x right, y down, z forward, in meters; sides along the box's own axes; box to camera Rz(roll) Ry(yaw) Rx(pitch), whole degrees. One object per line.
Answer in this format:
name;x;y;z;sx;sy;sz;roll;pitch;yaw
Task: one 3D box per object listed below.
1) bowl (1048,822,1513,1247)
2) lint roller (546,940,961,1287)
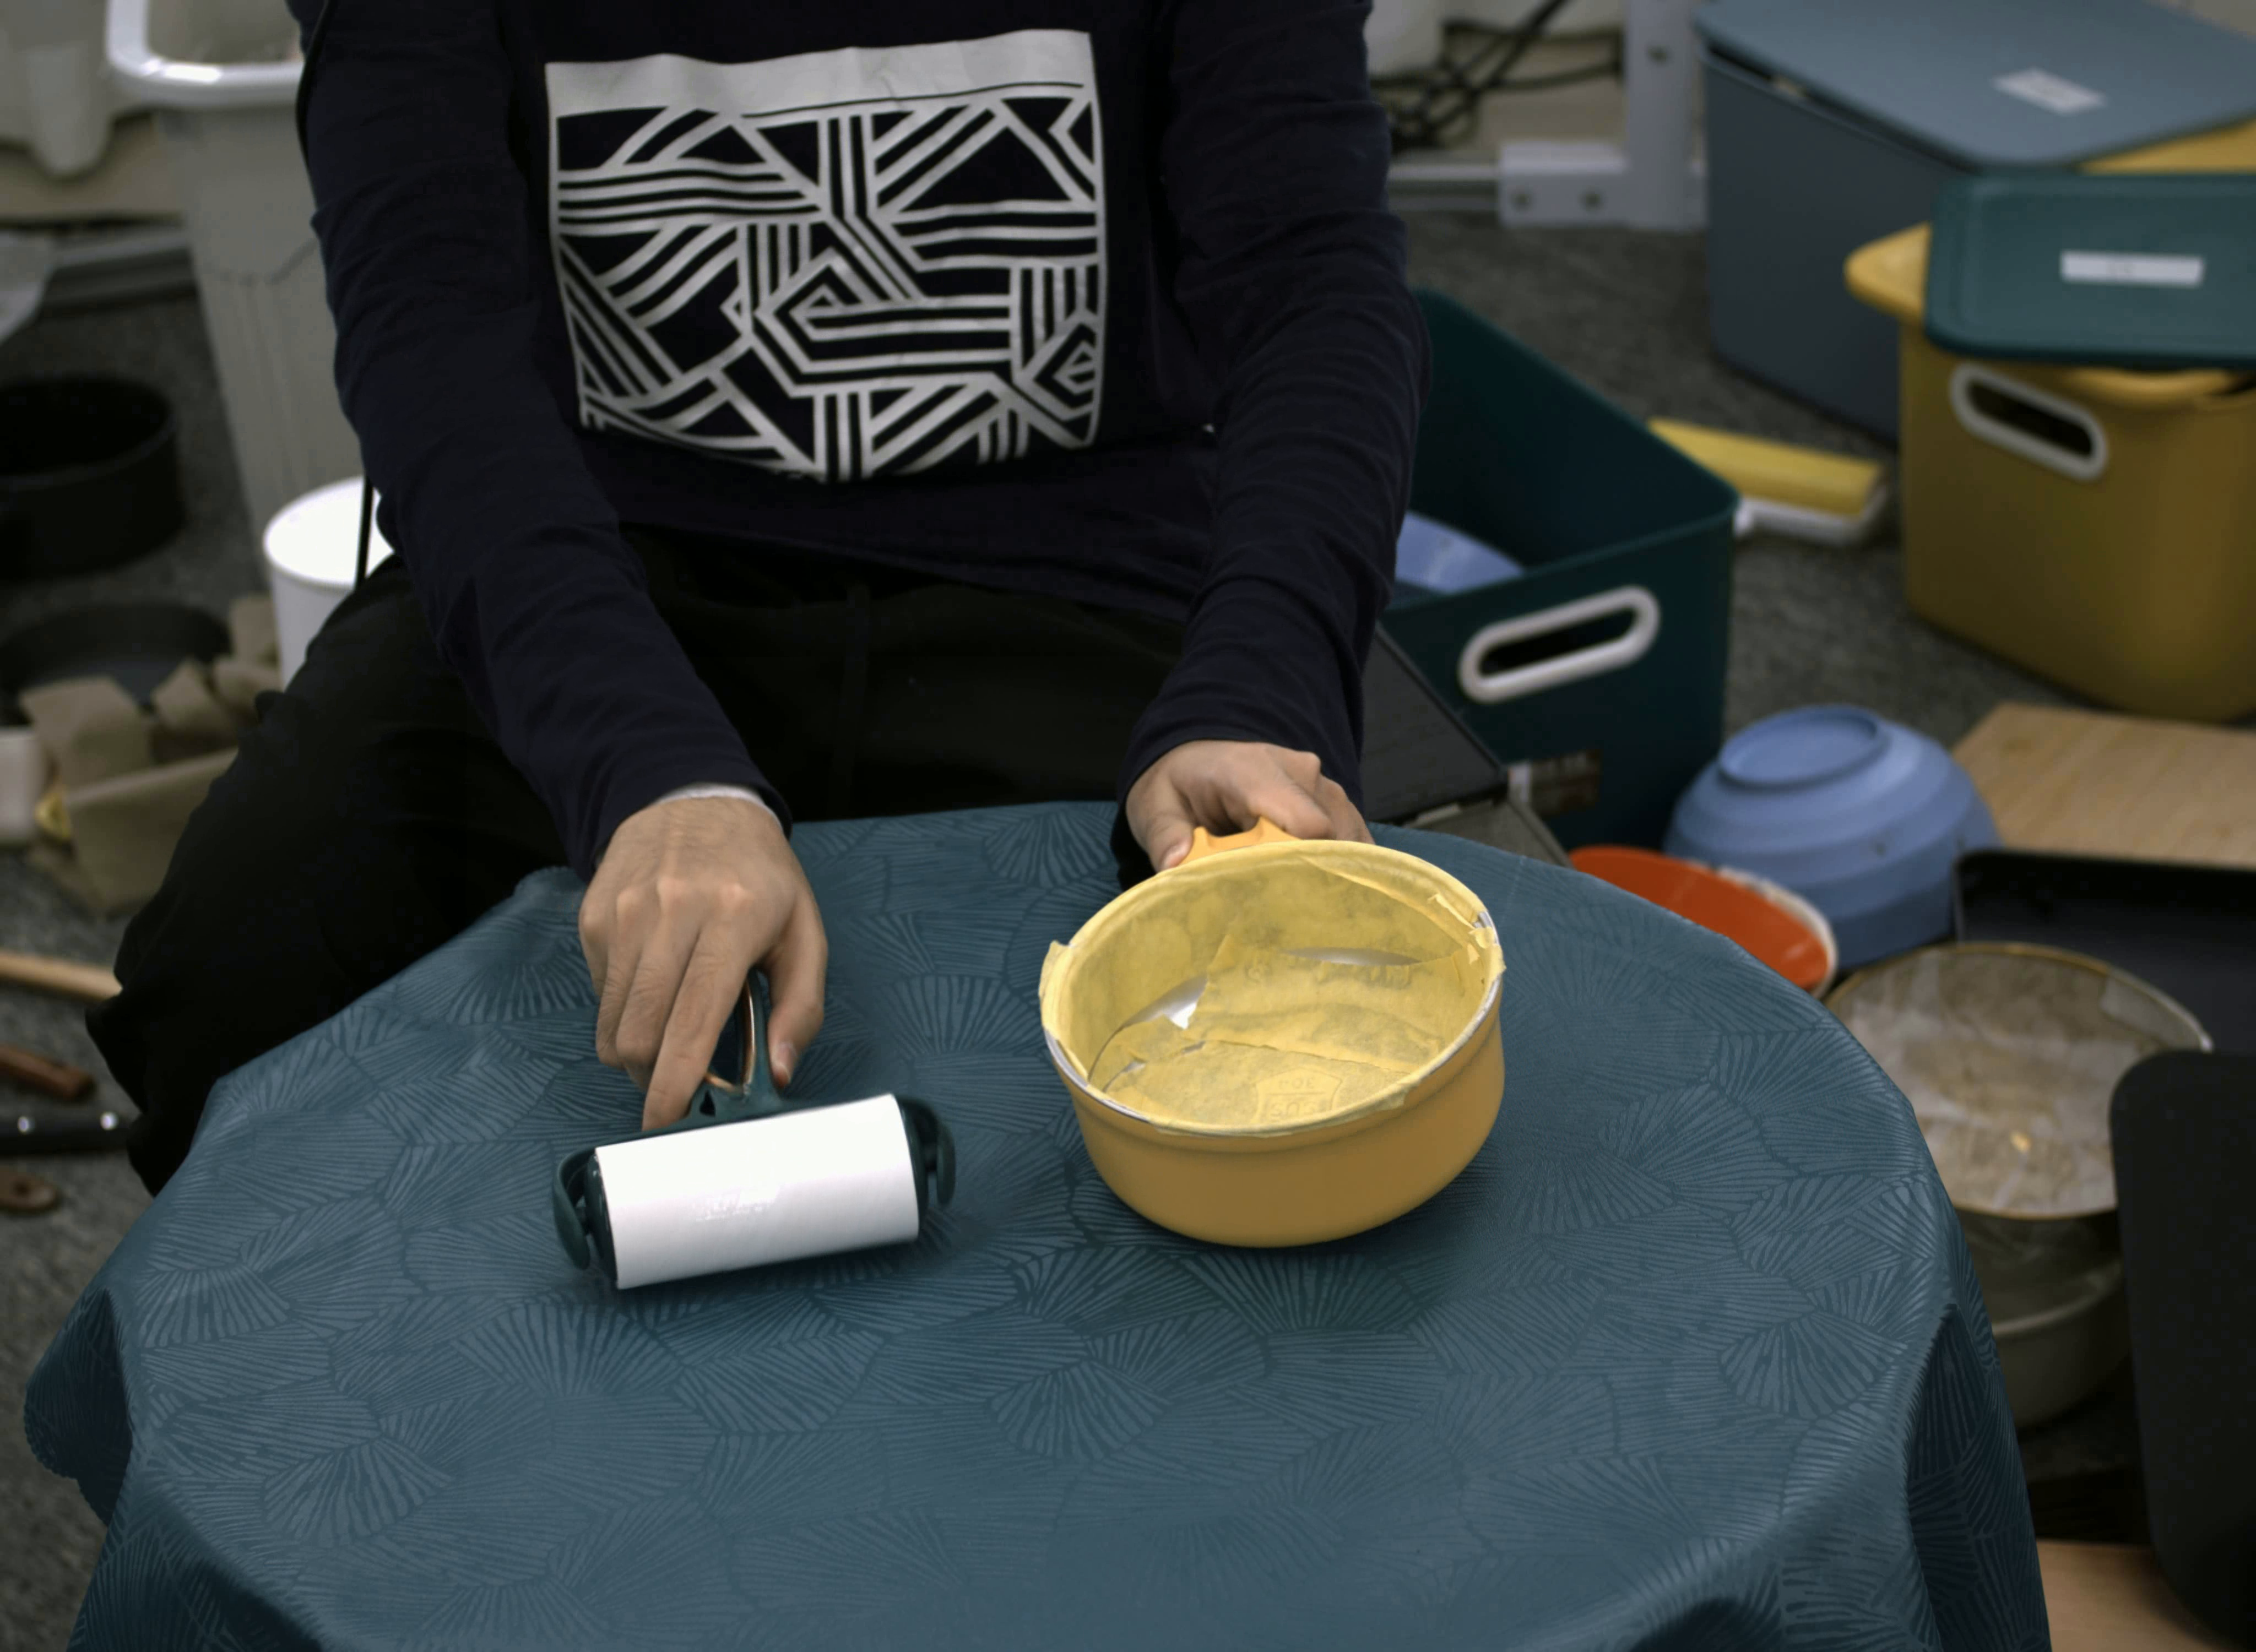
bowl;0.052;0.068;1.870;0.153;0.073;0.182;-15;35;-5
lint roller;-0.136;0.078;1.875;0.134;0.047;0.183;-12;38;-8
